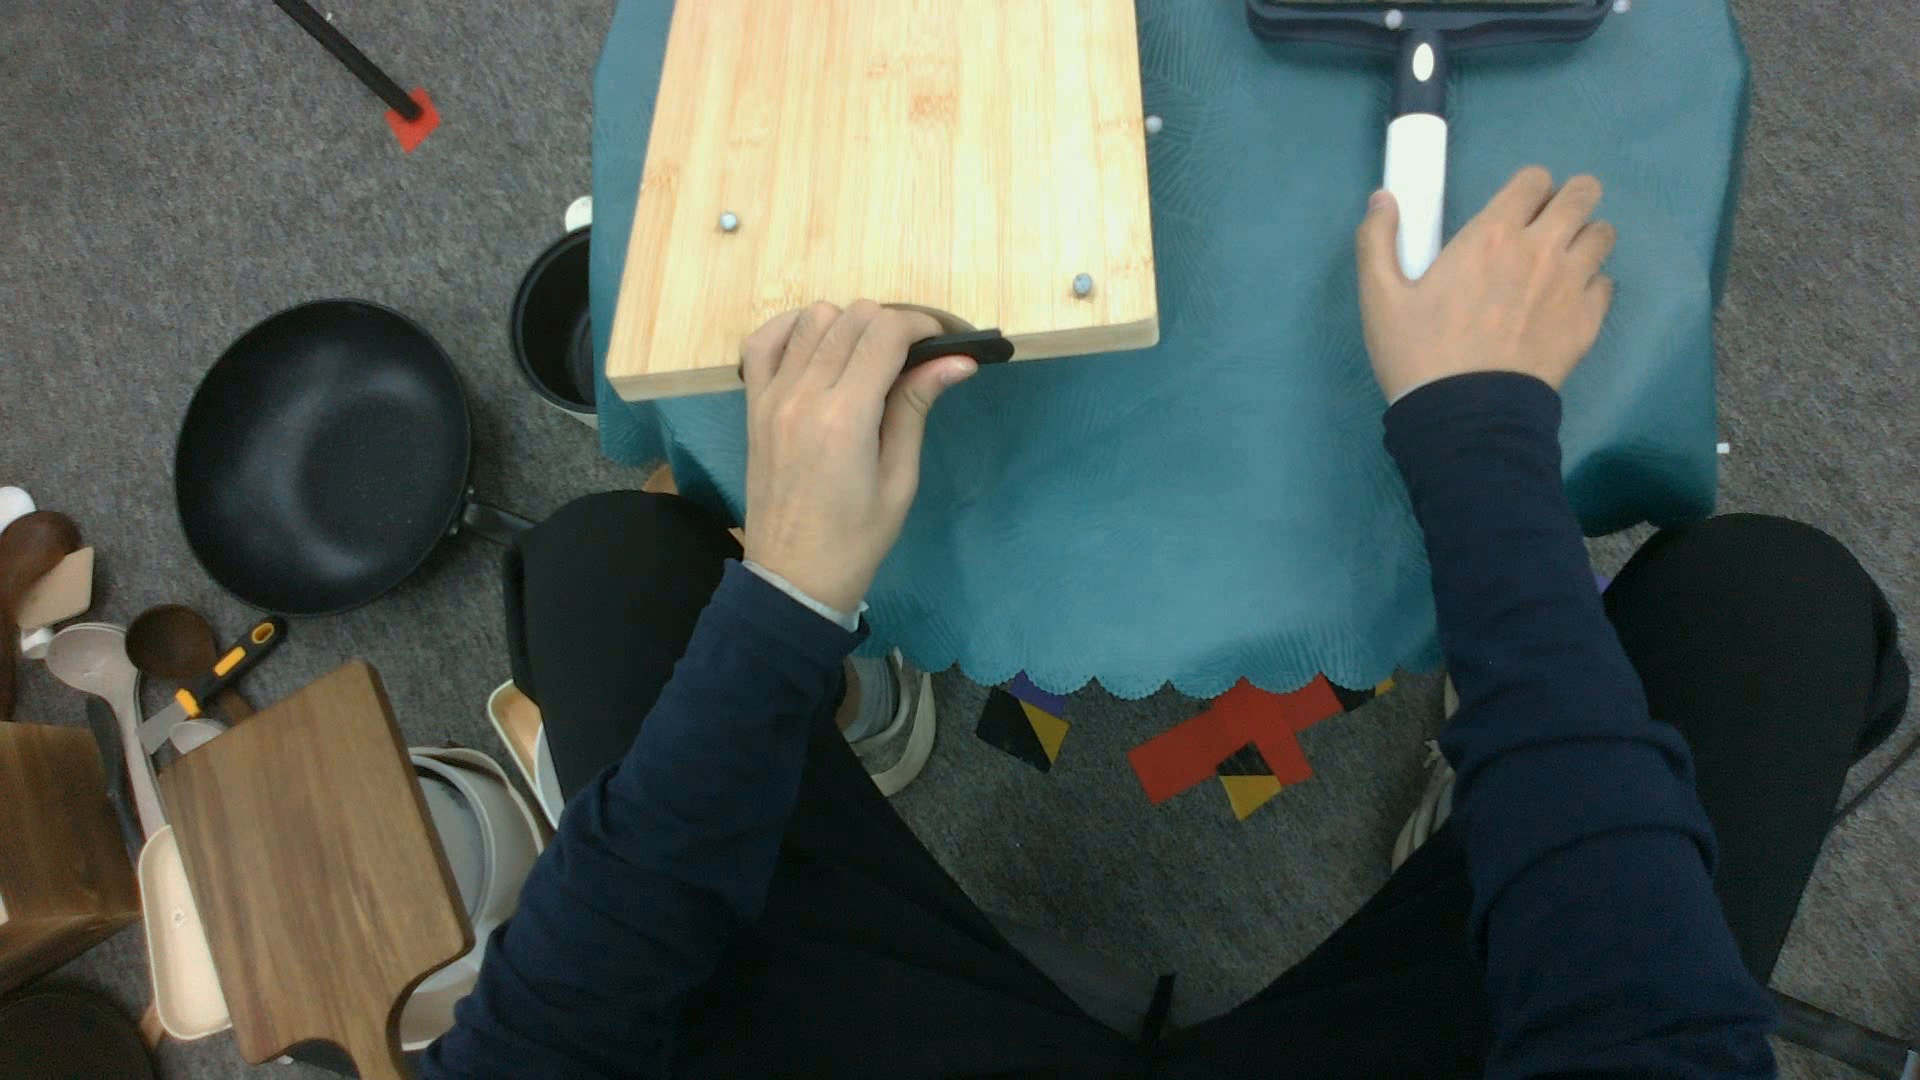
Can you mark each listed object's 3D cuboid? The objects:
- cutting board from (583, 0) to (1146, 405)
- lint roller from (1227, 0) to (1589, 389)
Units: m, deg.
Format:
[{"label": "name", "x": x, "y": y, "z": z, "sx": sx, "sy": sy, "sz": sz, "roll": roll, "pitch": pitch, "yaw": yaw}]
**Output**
[{"label": "cutting board", "x": -0.040, "y": -0.218, "z": 0.675, "sx": 0.250, "sy": 0.023, "sz": 0.350, "roll": -6, "pitch": 57, "yaw": 8}, {"label": "lint roller", "x": 0.217, "y": -0.198, "z": 0.679, "sx": 0.176, "sy": 0.050, "sz": 0.247, "roll": 4, "pitch": 81, "yaw": 9}]
